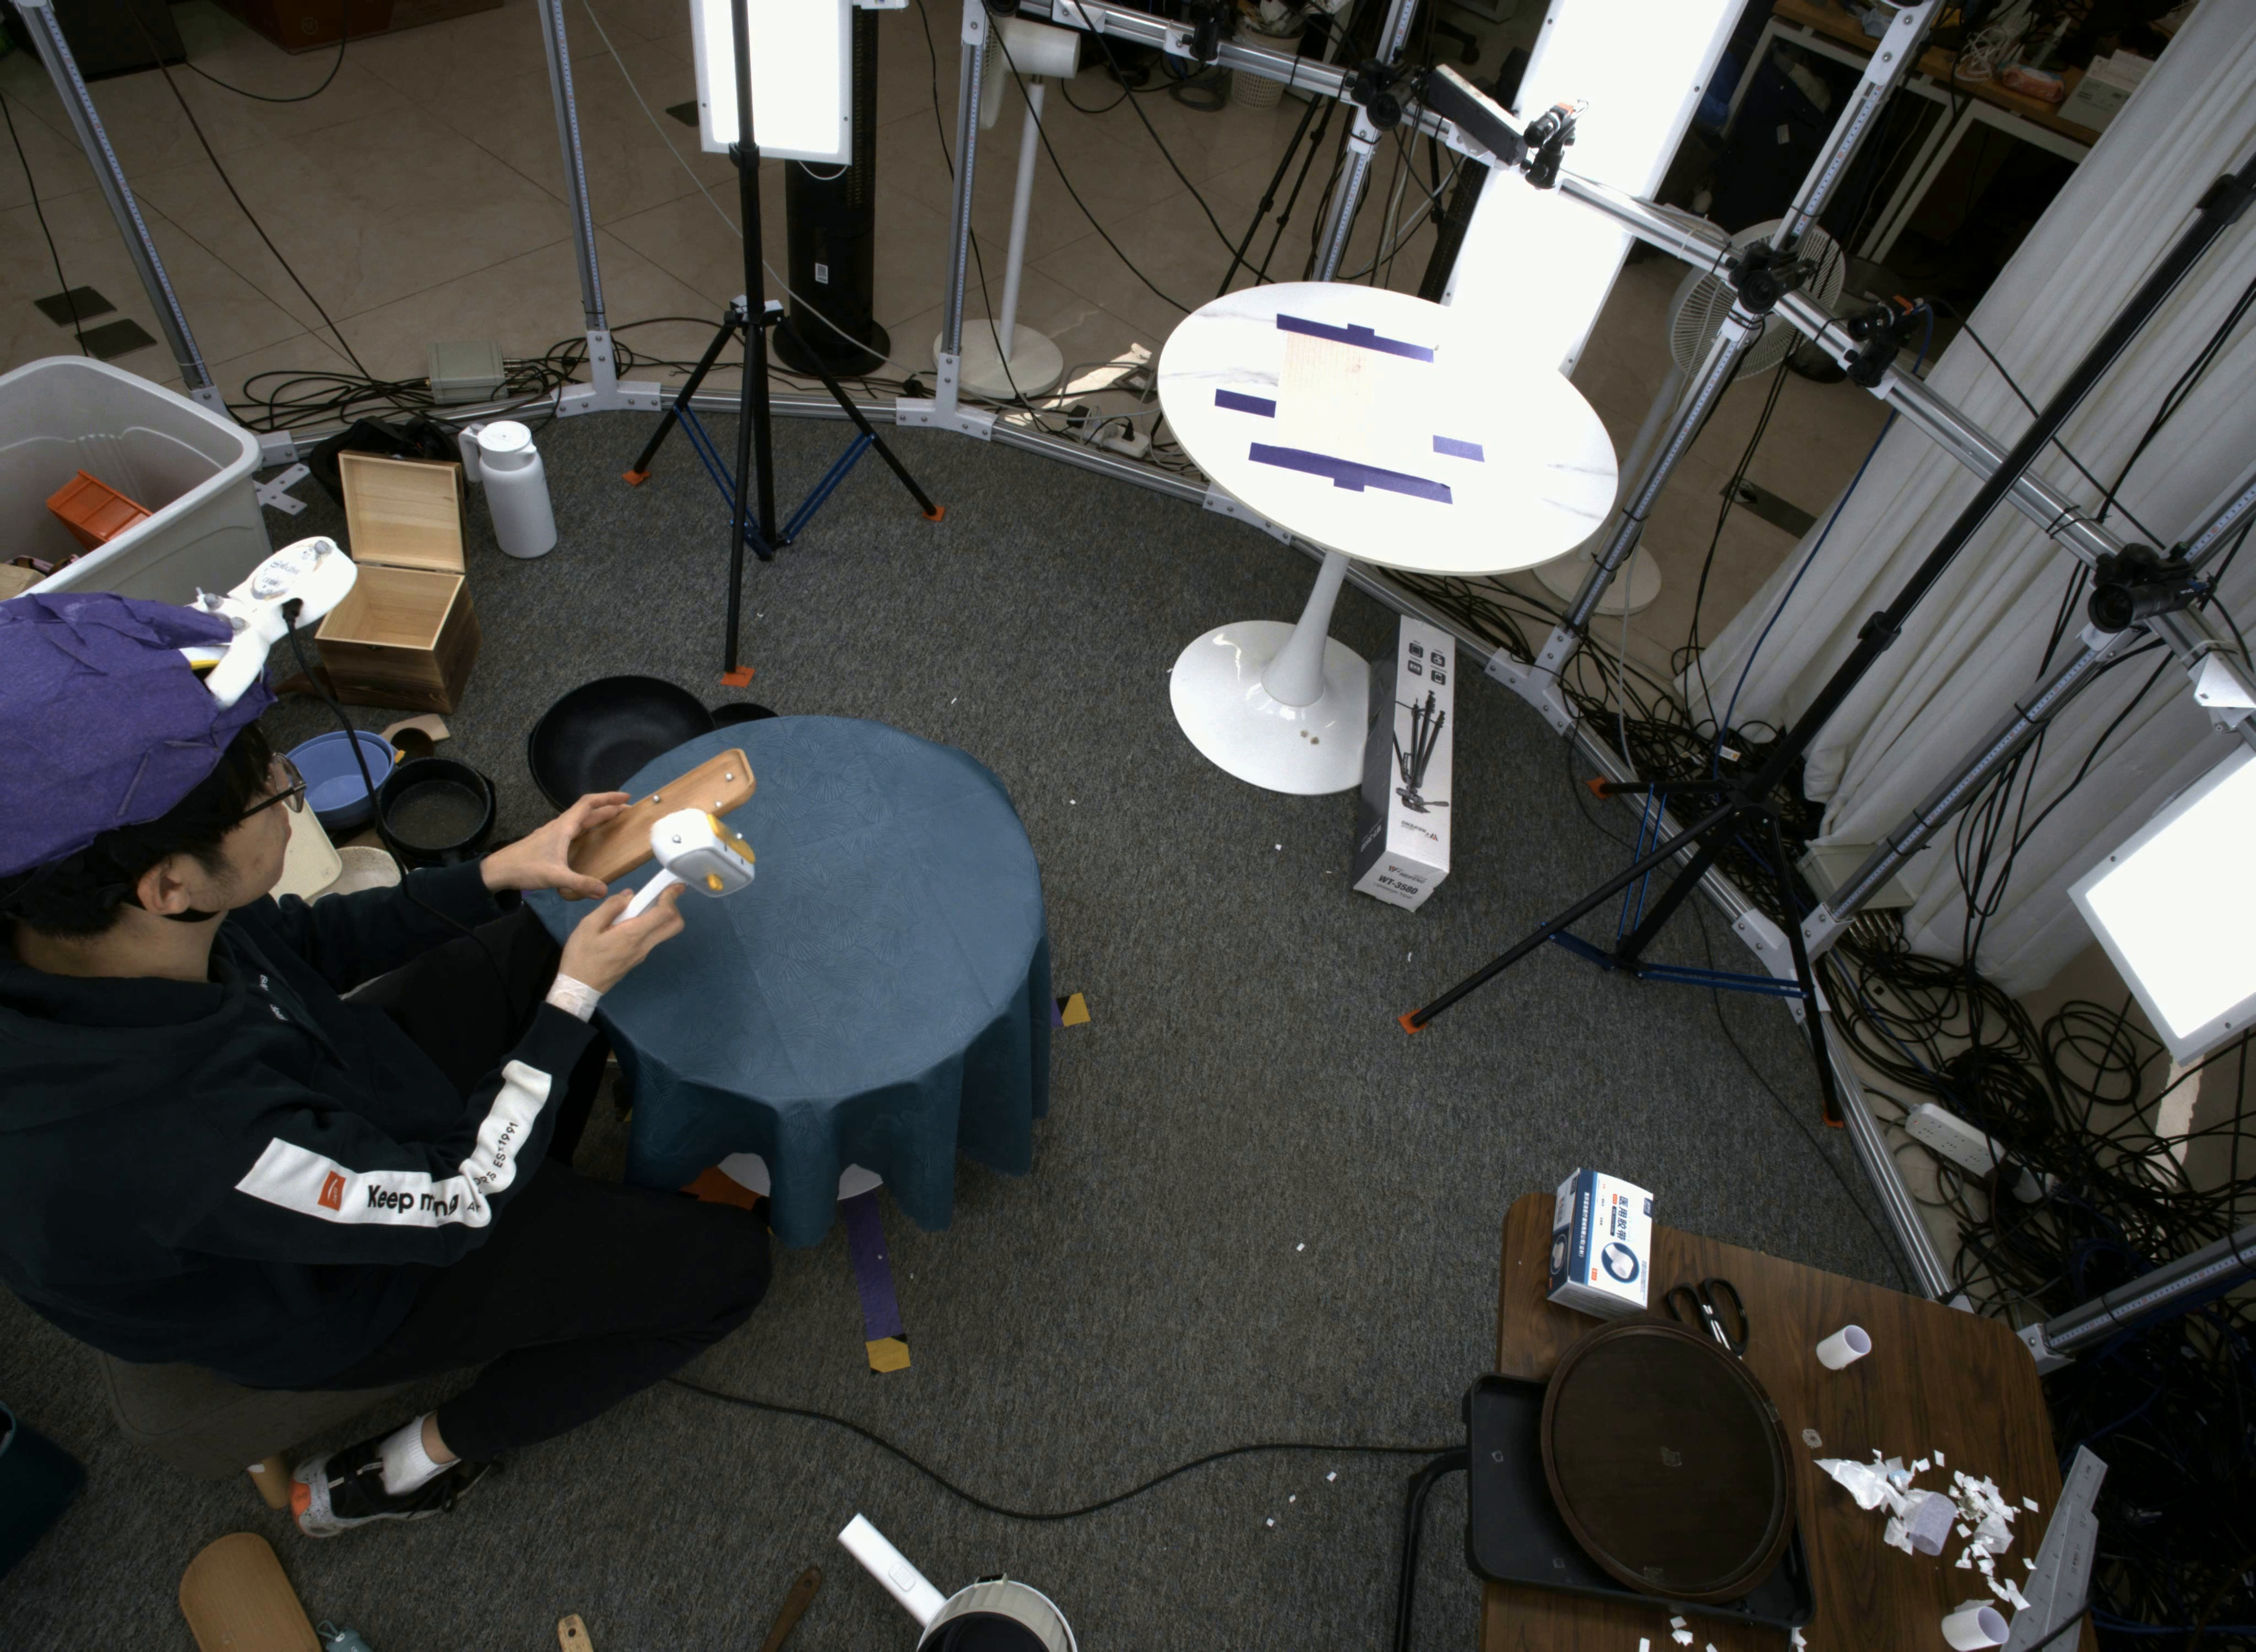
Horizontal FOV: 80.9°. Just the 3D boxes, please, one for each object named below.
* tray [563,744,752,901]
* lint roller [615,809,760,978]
[{"bbox_3d":[-0.540,-0.007,1.457,0.250,0.024,0.126,-32,33,-7],"label":"tray"},{"bbox_3d":[-0.497,0.076,1.394,0.192,0.195,0.073,-44,80,-3],"label":"lint roller"}]
